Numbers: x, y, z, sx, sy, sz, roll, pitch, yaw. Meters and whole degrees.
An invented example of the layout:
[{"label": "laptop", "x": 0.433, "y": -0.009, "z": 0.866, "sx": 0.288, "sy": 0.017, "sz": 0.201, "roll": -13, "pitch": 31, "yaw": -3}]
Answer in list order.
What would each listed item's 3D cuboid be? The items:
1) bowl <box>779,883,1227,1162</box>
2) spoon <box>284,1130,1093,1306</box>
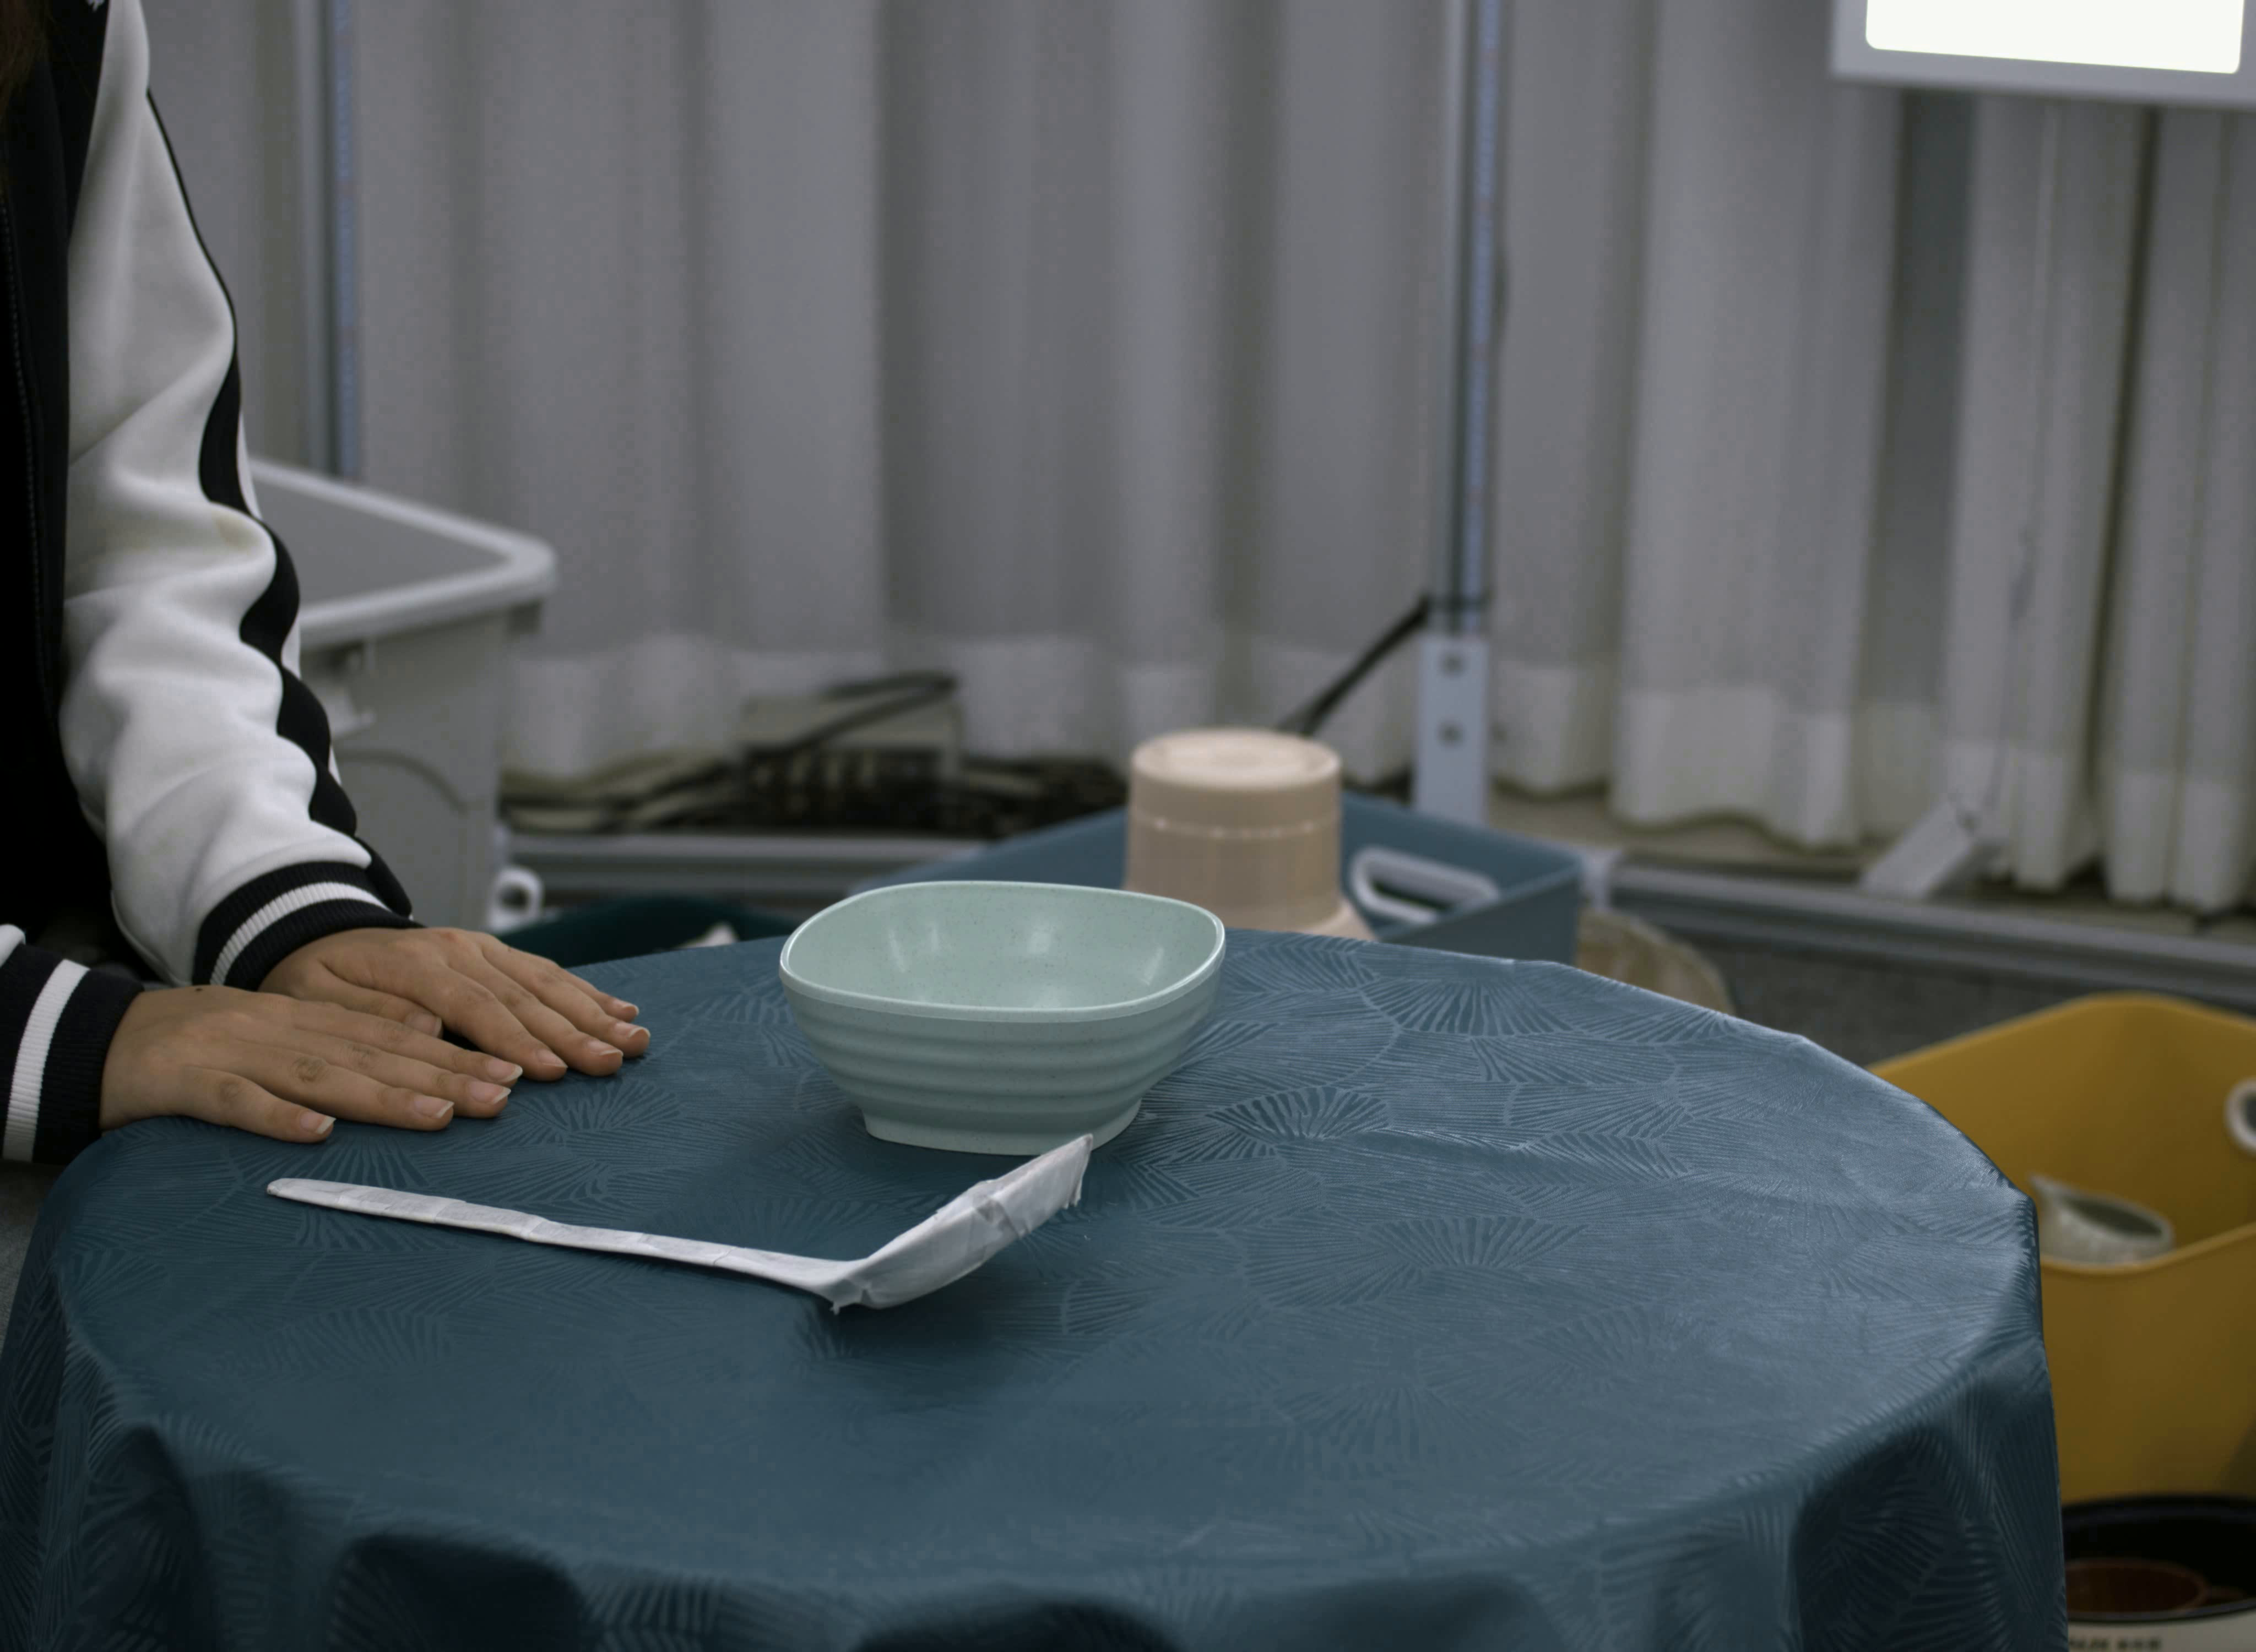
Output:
[{"label": "bowl", "x": -0.039, "y": 0.066, "z": 1.686, "sx": 0.151, "sy": 0.059, "sz": 0.150, "roll": 1, "pitch": 16, "yaw": 0}, {"label": "spoon", "x": -0.136, "y": 0.098, "z": 1.561, "sx": 0.274, "sy": 0.060, "sz": 0.101, "roll": 9, "pitch": 13, "yaw": 28}]
